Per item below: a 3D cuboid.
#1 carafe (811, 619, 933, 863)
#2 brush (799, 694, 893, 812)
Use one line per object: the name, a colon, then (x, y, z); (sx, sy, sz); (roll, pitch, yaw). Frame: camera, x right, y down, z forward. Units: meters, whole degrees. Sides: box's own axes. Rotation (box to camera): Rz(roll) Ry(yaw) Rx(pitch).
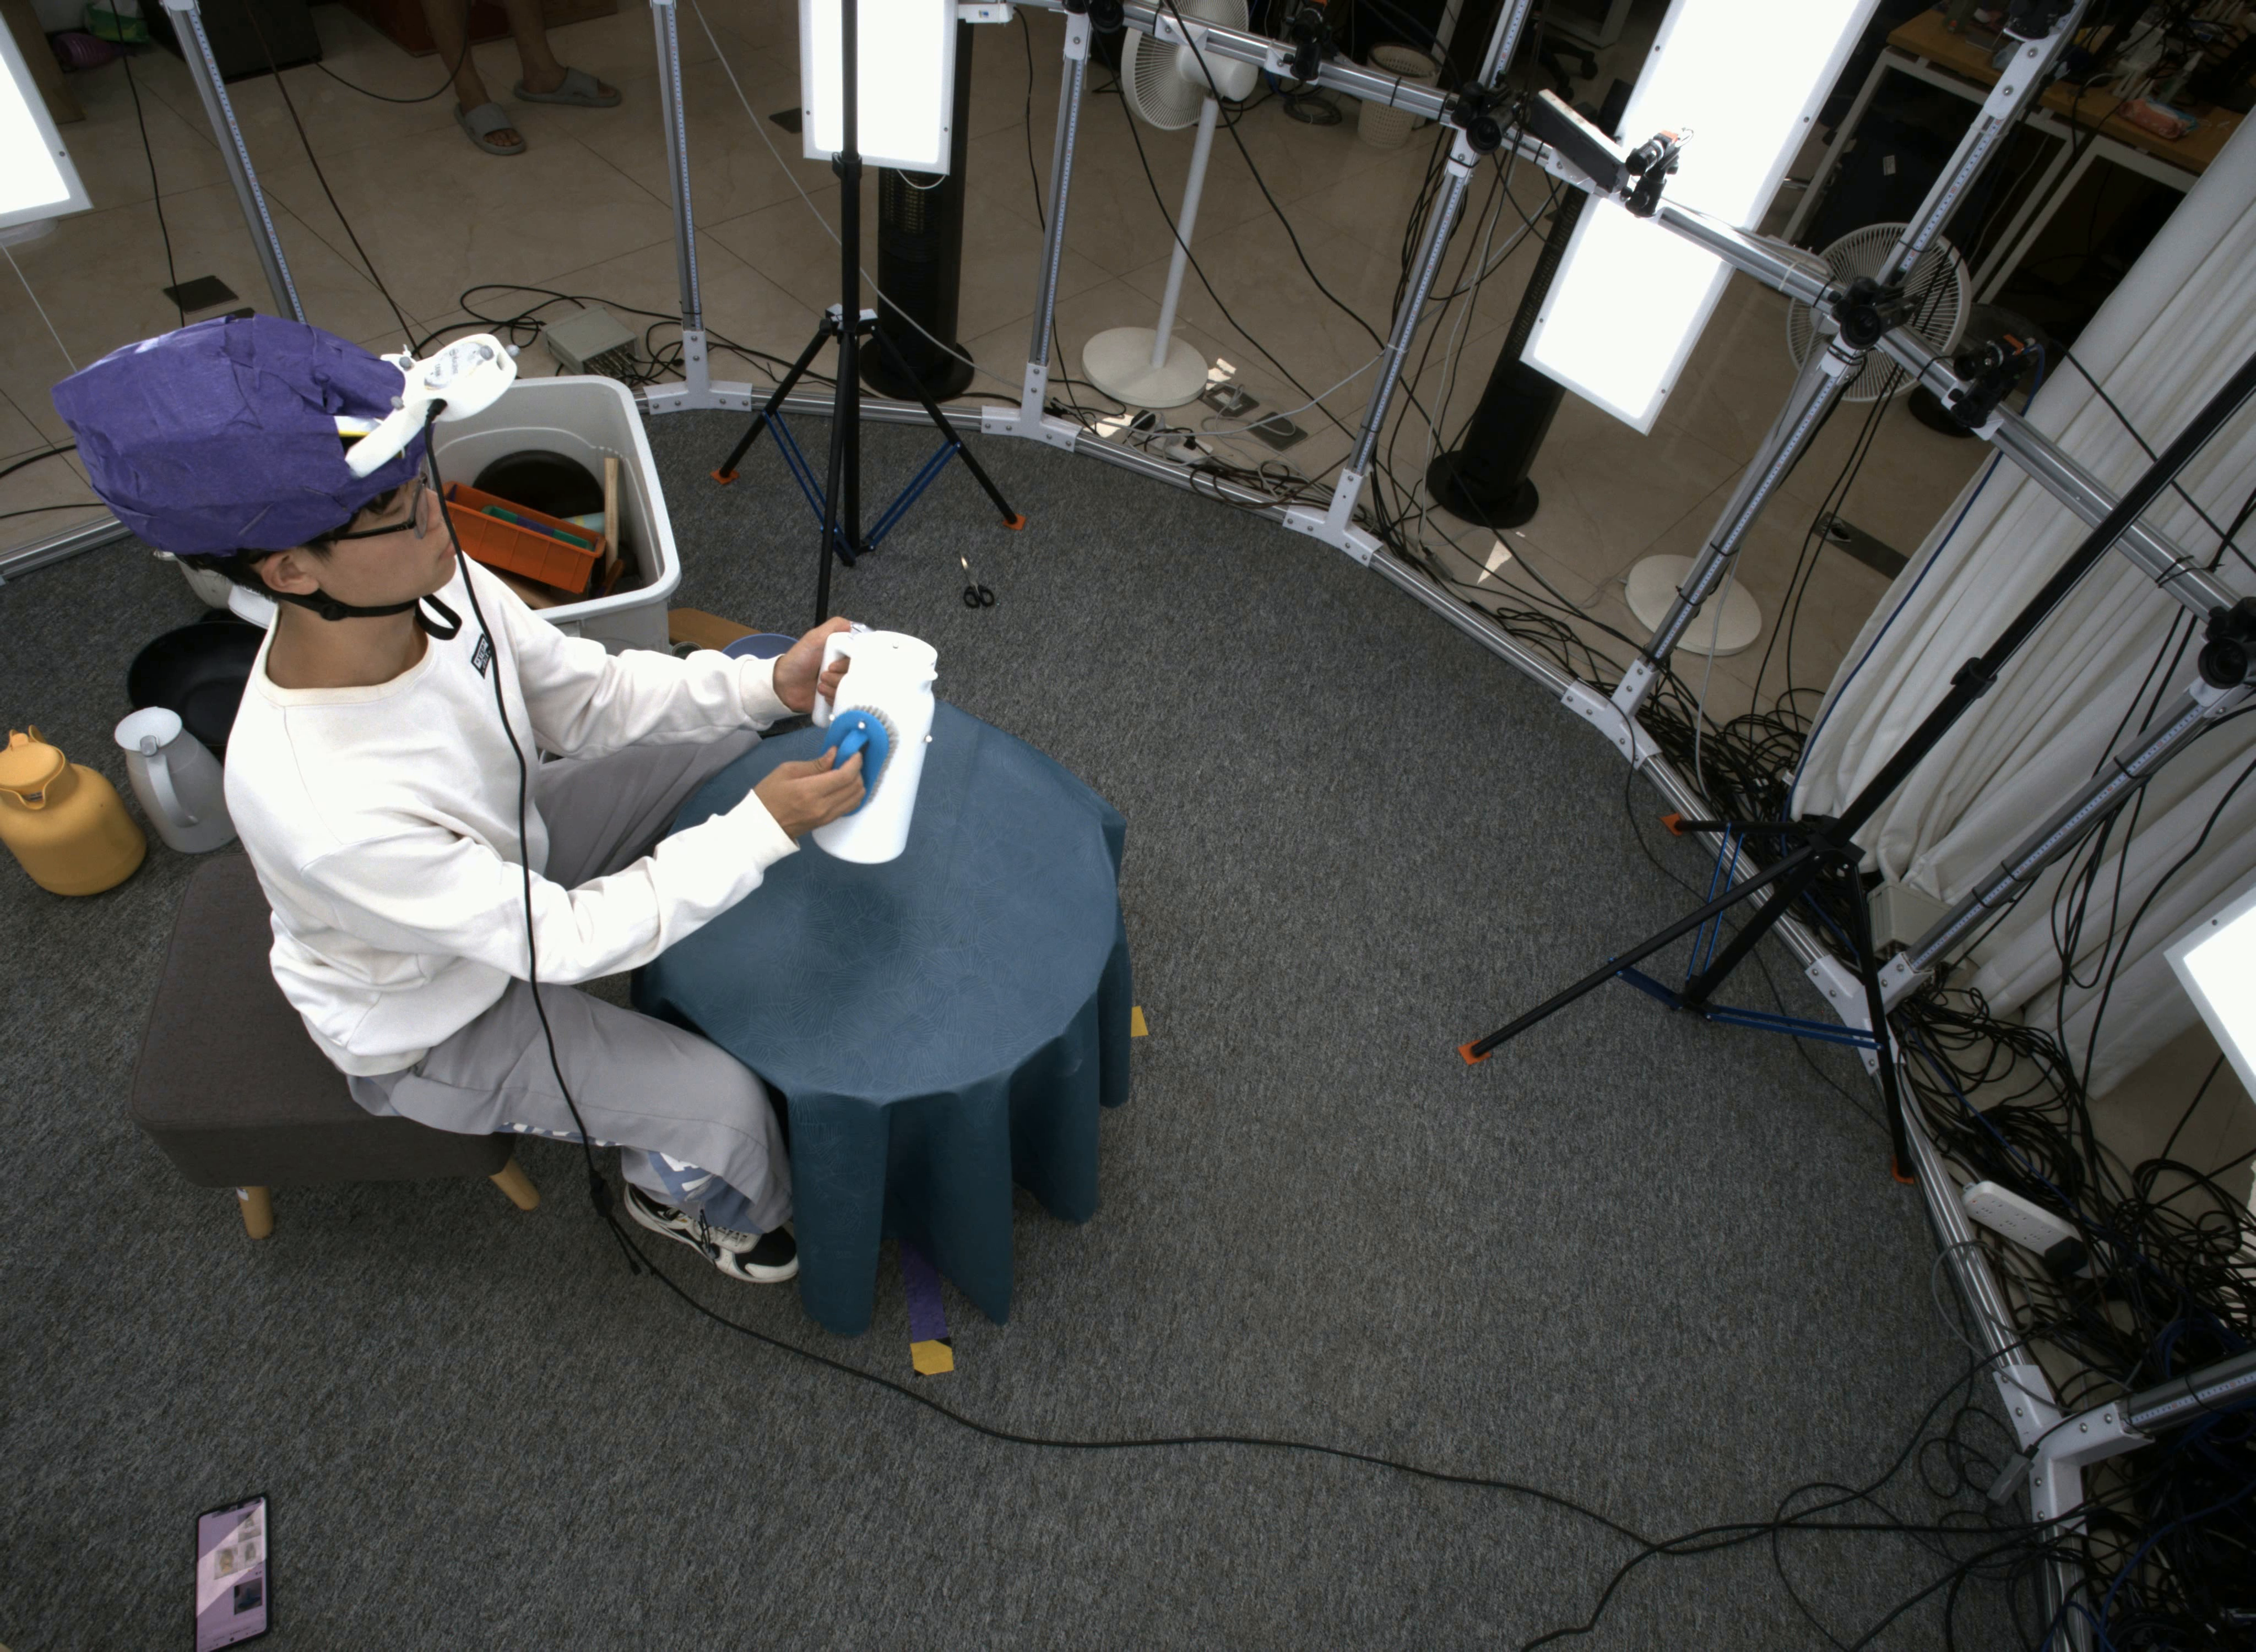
carafe: (-0.320, -0.105, 1.573); (0.167, 0.275, 0.125); (30, 32, 26)
brush: (-0.328, -0.075, 1.481); (0.084, 0.143, 0.063); (27, 28, -4)
